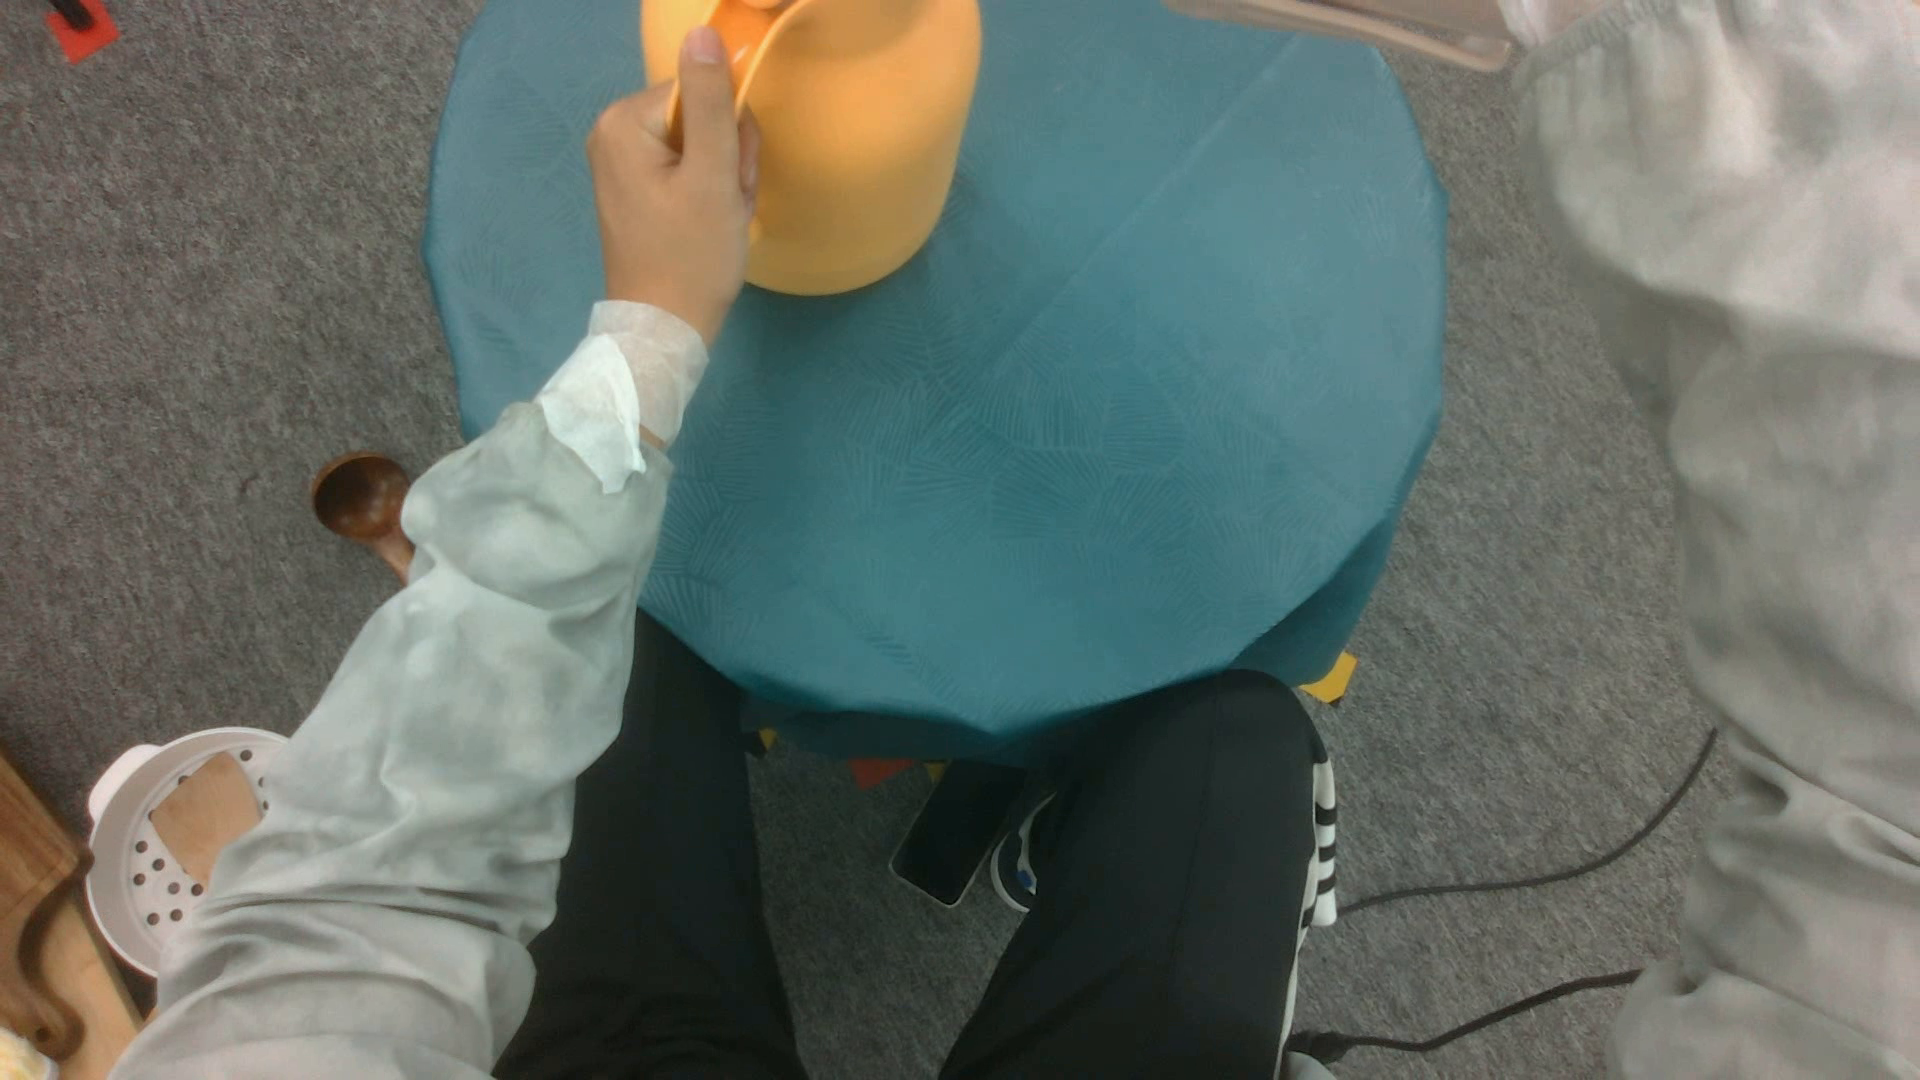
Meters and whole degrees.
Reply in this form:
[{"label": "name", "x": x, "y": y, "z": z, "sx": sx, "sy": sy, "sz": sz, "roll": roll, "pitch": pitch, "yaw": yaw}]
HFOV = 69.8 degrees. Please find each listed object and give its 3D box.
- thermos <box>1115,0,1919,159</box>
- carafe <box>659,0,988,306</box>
[{"label": "thermos", "x": 0.168, "y": -0.241, "z": 0.451, "sx": 0.406, "sy": 0.207, "sz": 0.175, "roll": 12, "pitch": 97, "yaw": 1}, {"label": "carafe", "x": -0.078, "y": -0.220, "z": 0.680, "sx": 0.163, "sy": 0.259, "sz": 0.203, "roll": 27, "pitch": 72, "yaw": 2}]
